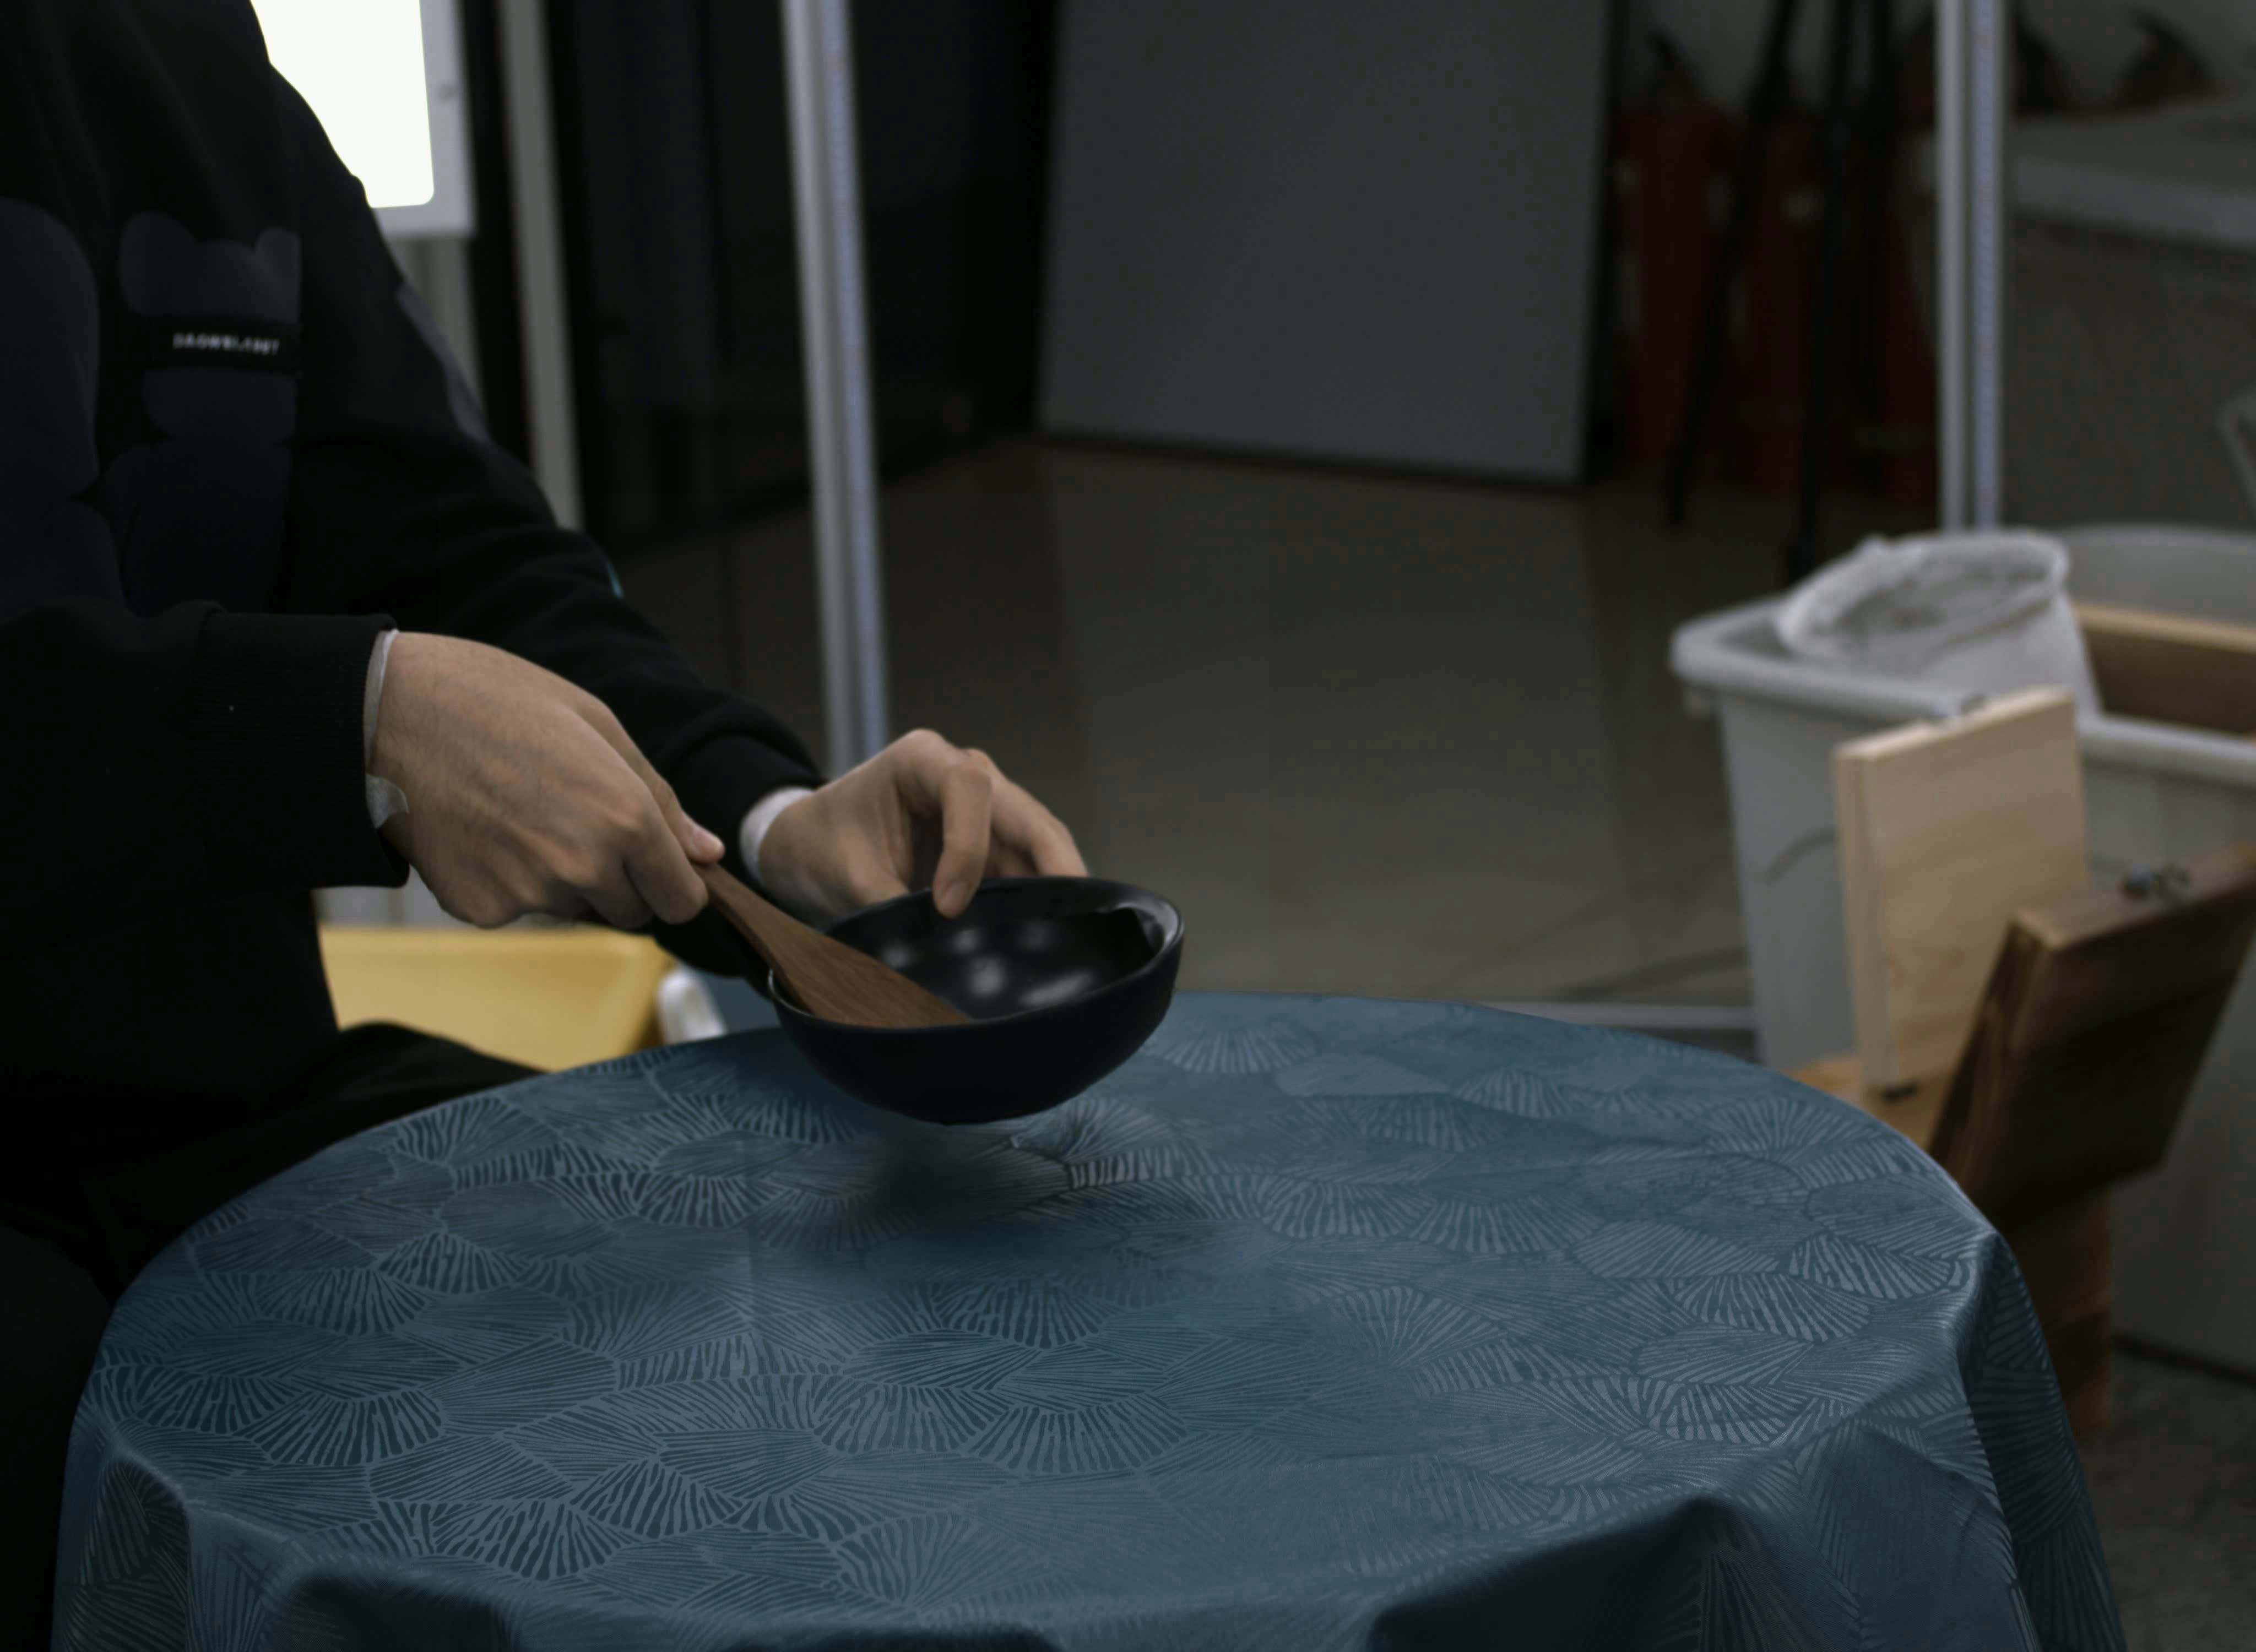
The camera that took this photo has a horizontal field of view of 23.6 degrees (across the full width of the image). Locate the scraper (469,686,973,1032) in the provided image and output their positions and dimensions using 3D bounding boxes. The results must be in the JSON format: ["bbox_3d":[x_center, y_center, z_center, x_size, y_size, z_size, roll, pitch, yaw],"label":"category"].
[{"bbox_3d":[-0.133,0.021,1.779,0.211,0.011,0.075,38,20,8],"label":"scraper"}]

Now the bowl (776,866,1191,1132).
[{"bbox_3d":[-0.044,0.063,1.767,0.138,0.050,0.140,-10,20,3],"label":"bowl"}]
